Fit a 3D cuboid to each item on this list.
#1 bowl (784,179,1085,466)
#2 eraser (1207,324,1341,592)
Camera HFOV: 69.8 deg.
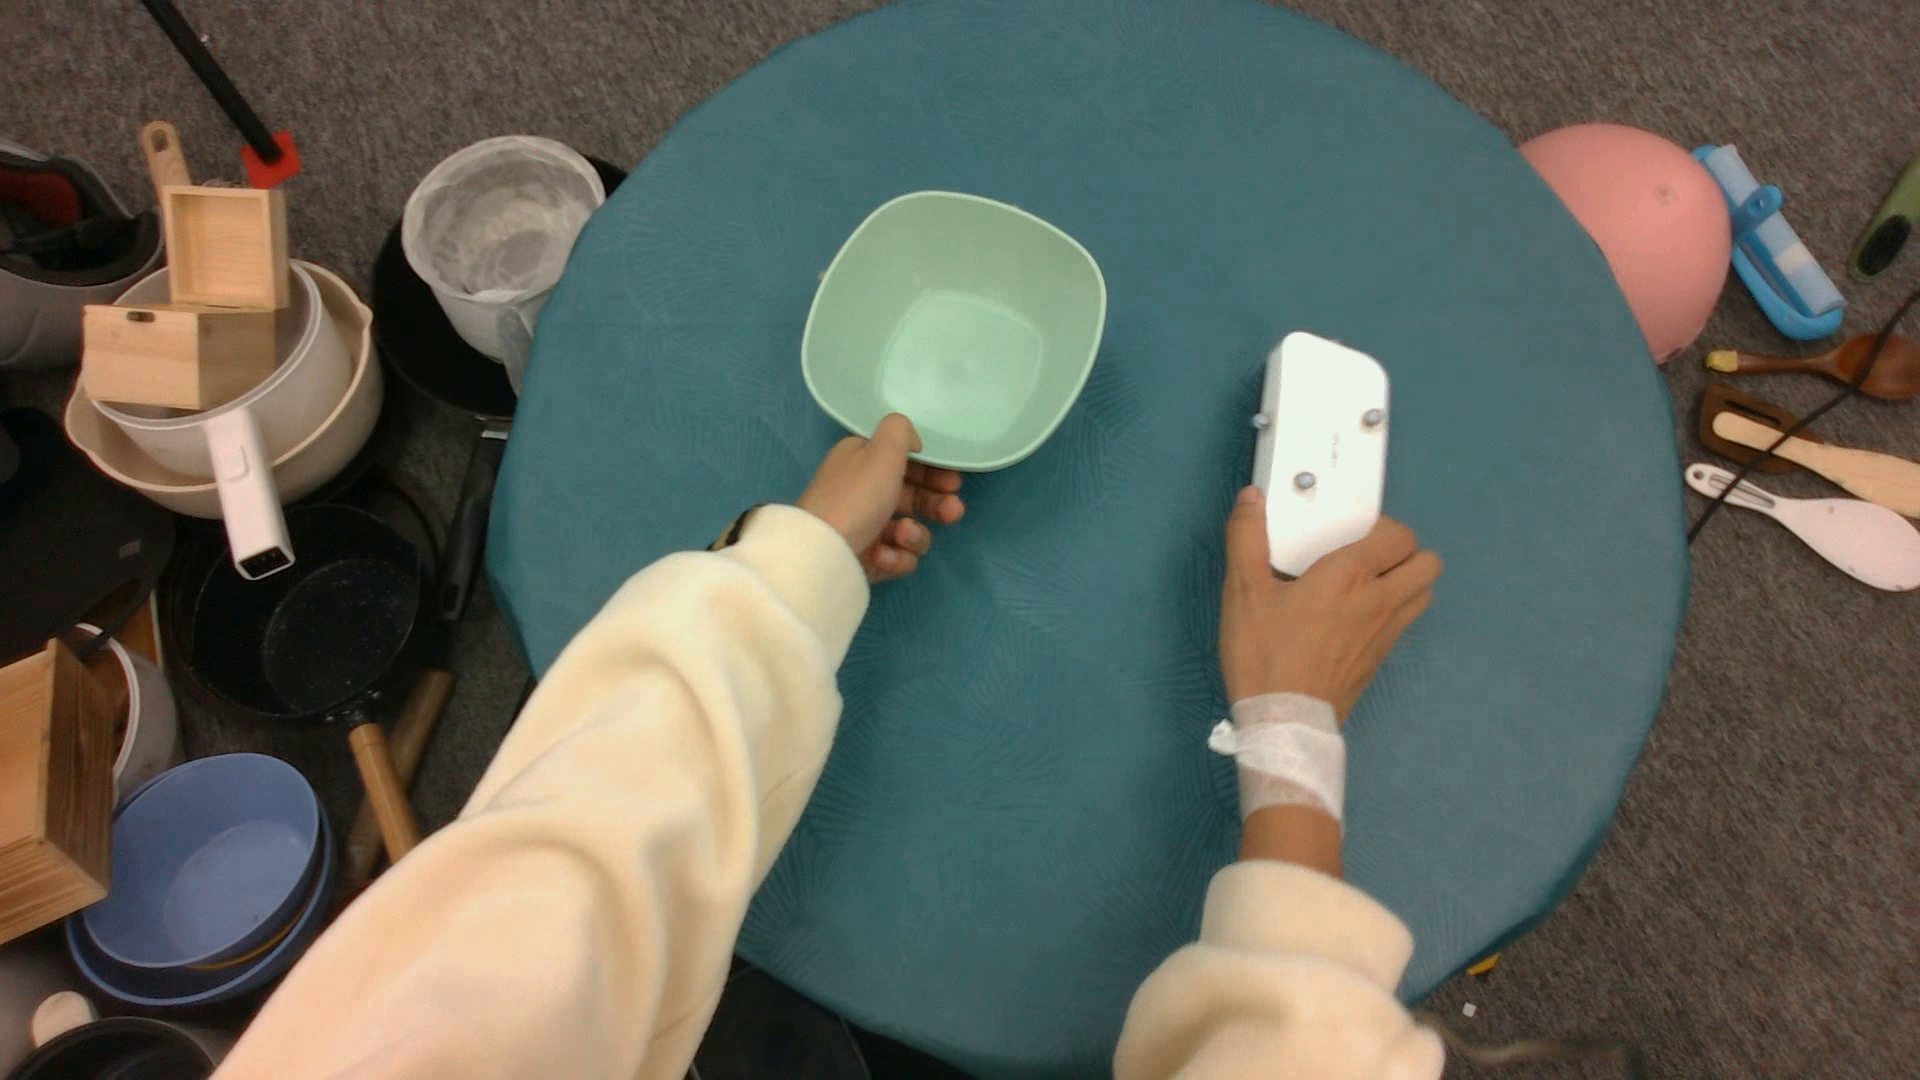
[{"bbox_3d":[-0.007,-0.099,0.675,0.151,0.058,0.152,-4,75,14],"label":"bowl"},{"bbox_3d":[0.151,-0.041,0.667,0.063,0.034,0.132,19,63,-25],"label":"eraser"}]
